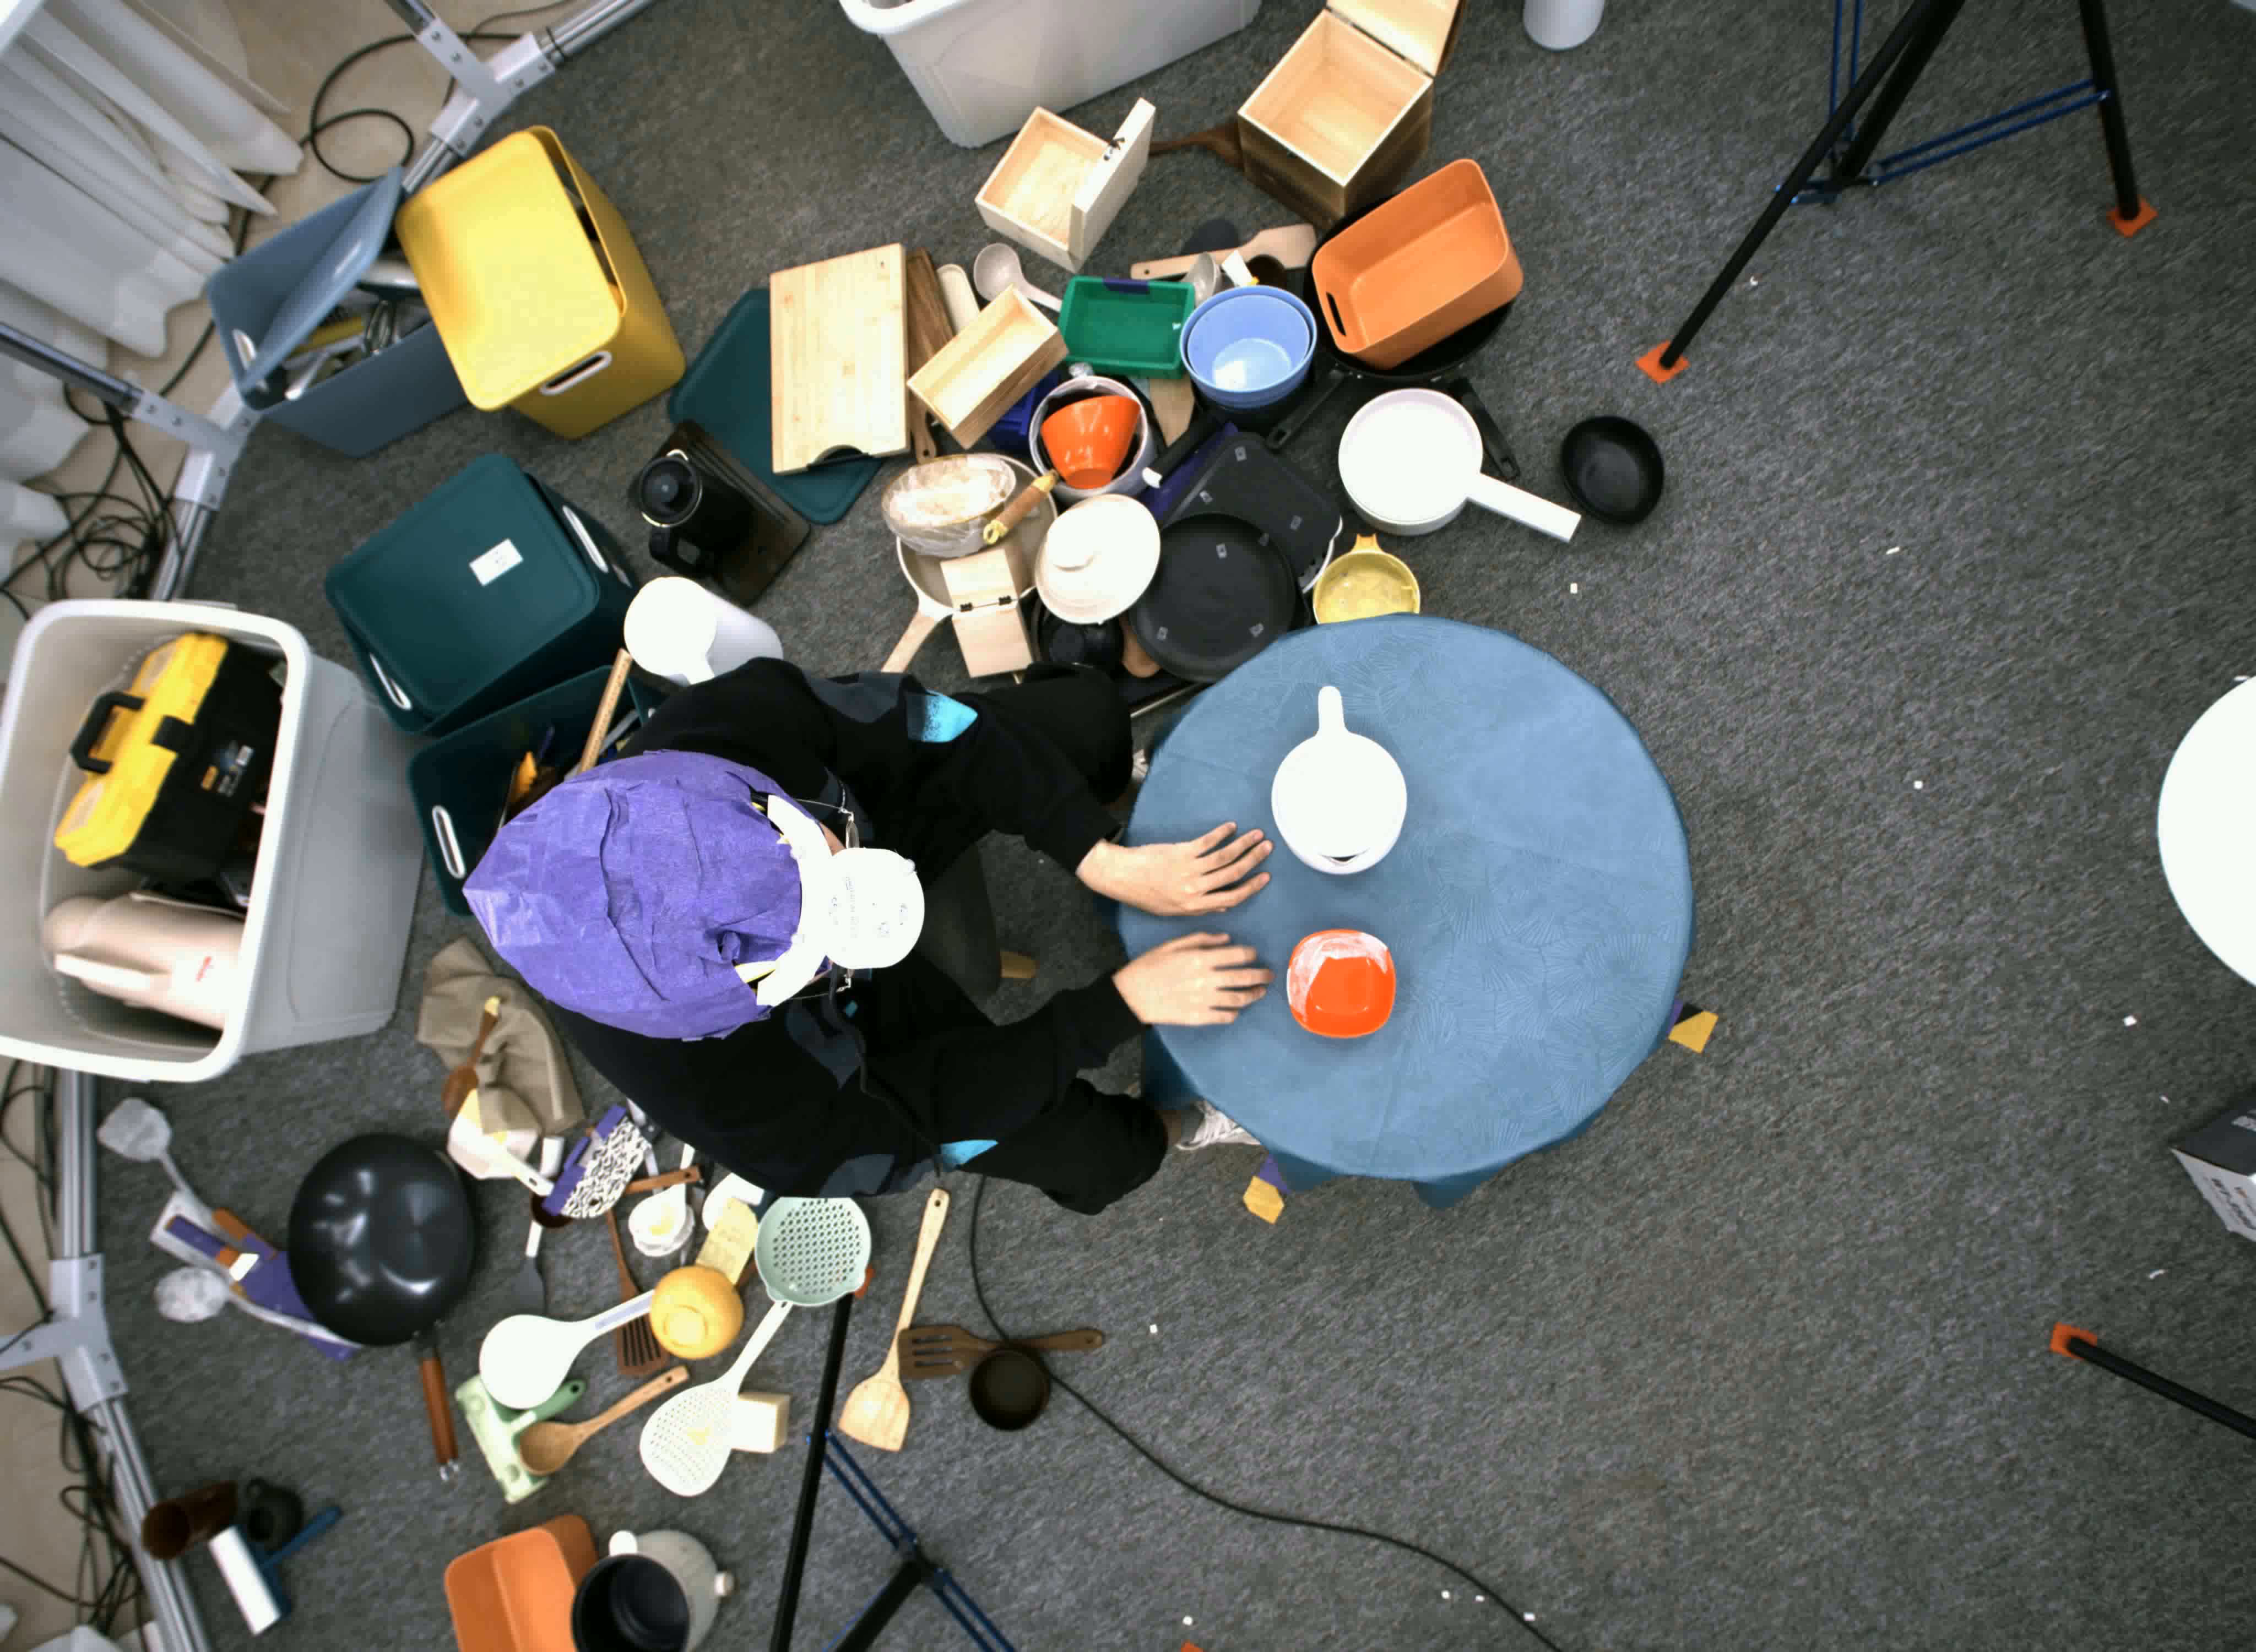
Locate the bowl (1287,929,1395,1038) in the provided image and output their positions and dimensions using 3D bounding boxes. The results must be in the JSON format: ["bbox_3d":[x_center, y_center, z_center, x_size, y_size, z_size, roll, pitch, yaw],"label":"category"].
[{"bbox_3d":[0.220,0.161,1.433,0.119,0.051,0.118,0,89,8],"label":"bowl"}]

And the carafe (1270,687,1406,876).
[{"bbox_3d":[0.208,-0.046,1.387,0.133,0.183,0.189,-7,82,8],"label":"carafe"}]
